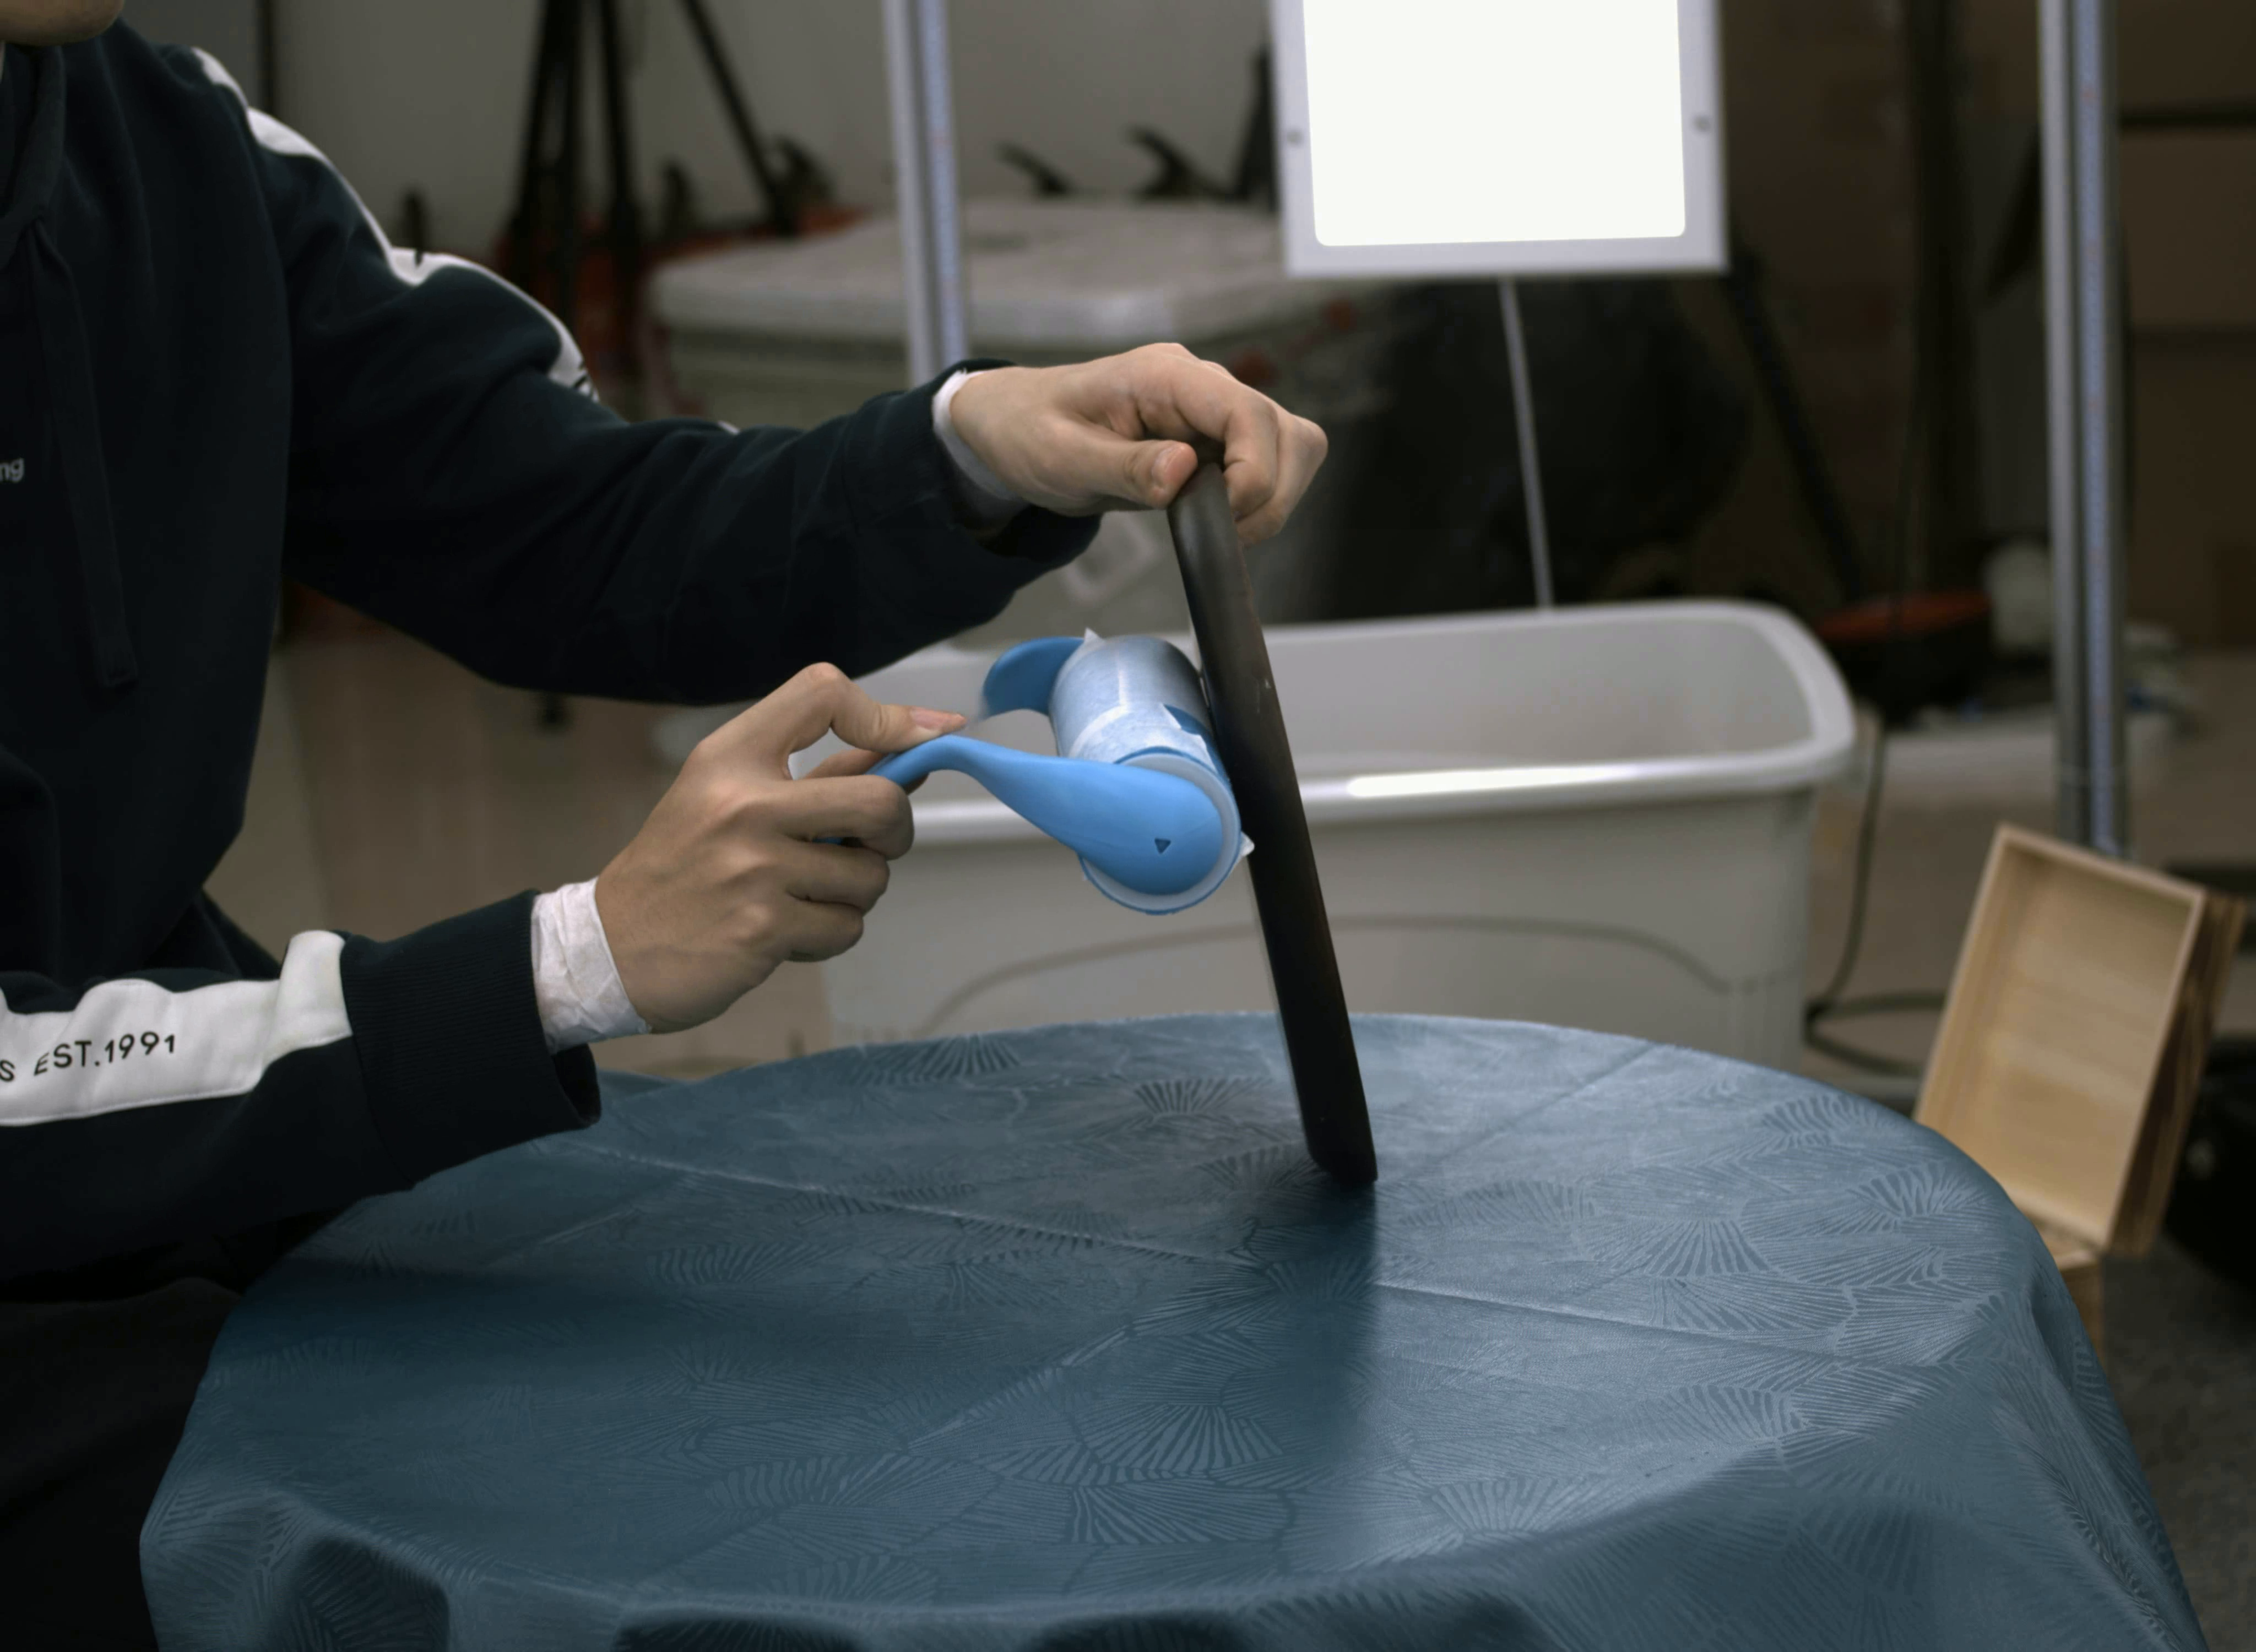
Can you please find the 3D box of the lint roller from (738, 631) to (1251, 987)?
[{"bbox_3d":[-0.051,-0.003,1.817,0.180,0.068,0.229,-18,15,-1],"label":"lint roller"}]

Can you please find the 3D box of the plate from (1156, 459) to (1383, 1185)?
[{"bbox_3d":[0.048,0.000,1.872,0.029,0.255,0.255,-13,14,-1],"label":"plate"}]
